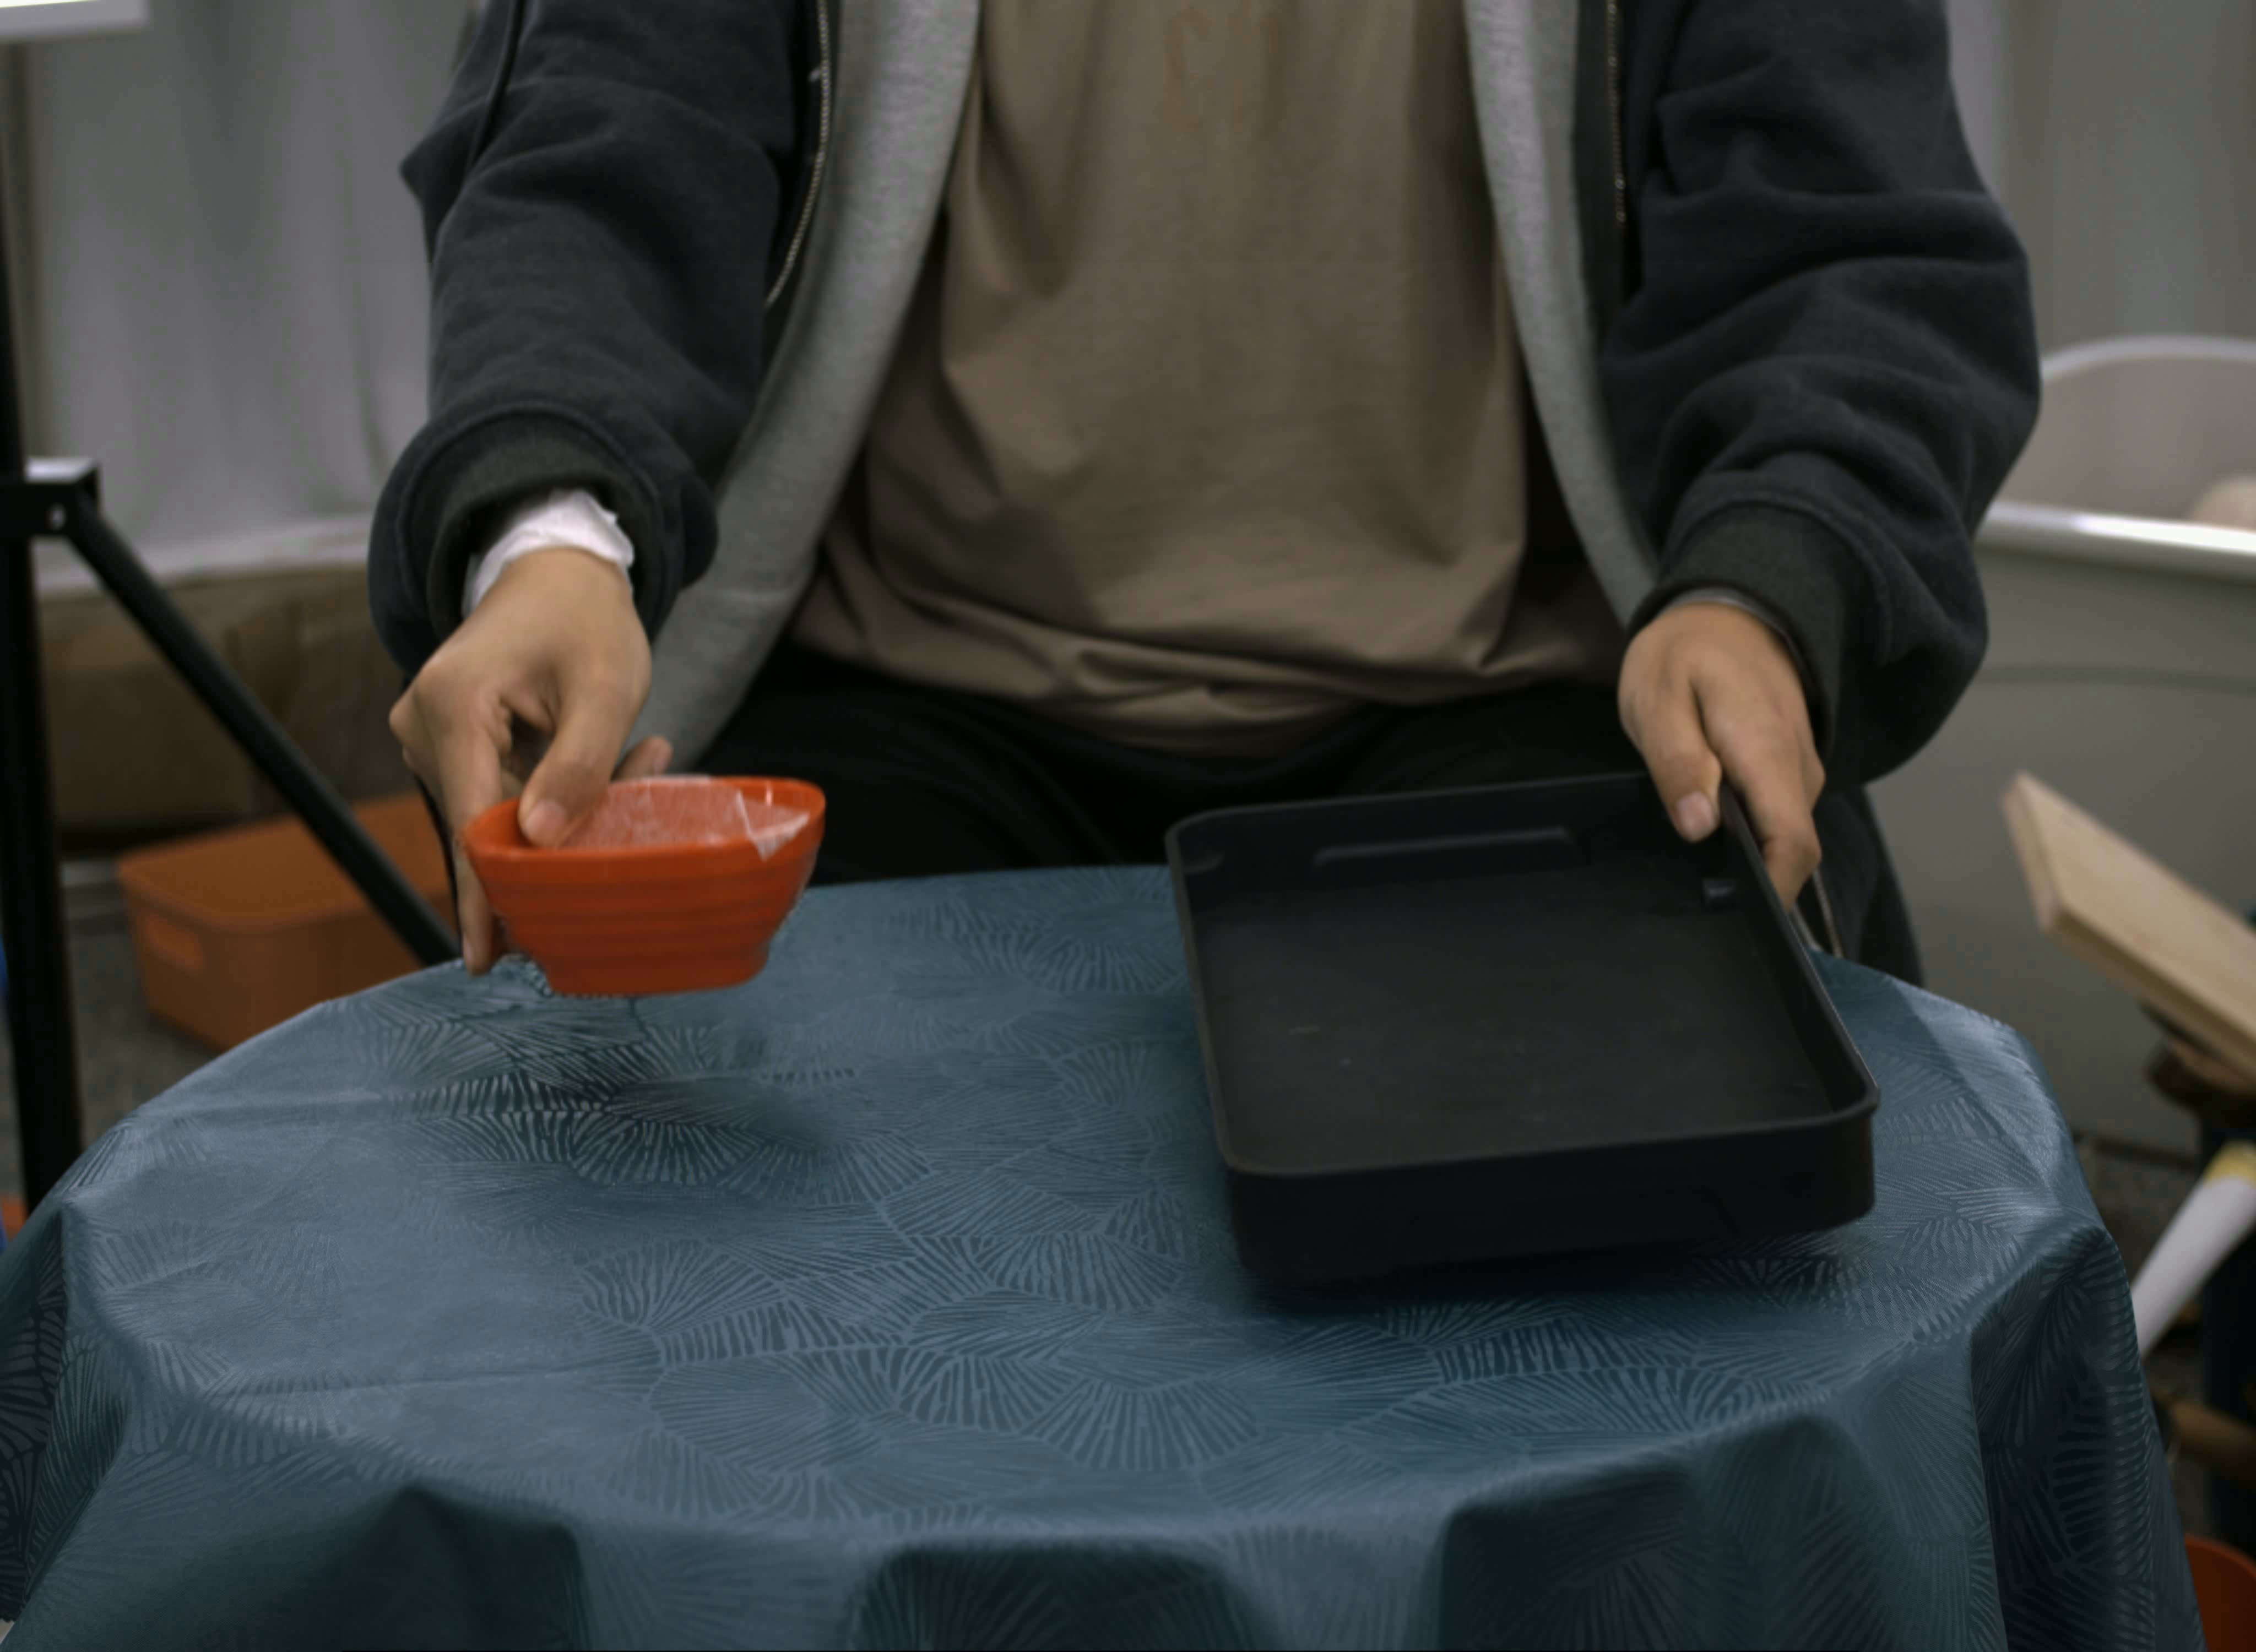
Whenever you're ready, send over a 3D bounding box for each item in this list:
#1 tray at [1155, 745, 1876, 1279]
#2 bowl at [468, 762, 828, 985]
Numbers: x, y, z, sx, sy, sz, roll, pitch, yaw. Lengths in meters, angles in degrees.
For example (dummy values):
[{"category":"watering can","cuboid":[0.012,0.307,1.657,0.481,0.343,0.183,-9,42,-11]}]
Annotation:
[{"category":"tray","cuboid":[0.108,0.050,1.587,0.183,0.037,0.320,-6,19,-1]},{"category":"bowl","cuboid":[-0.145,0.016,1.638,0.118,0.051,0.119,-5,12,0]}]
